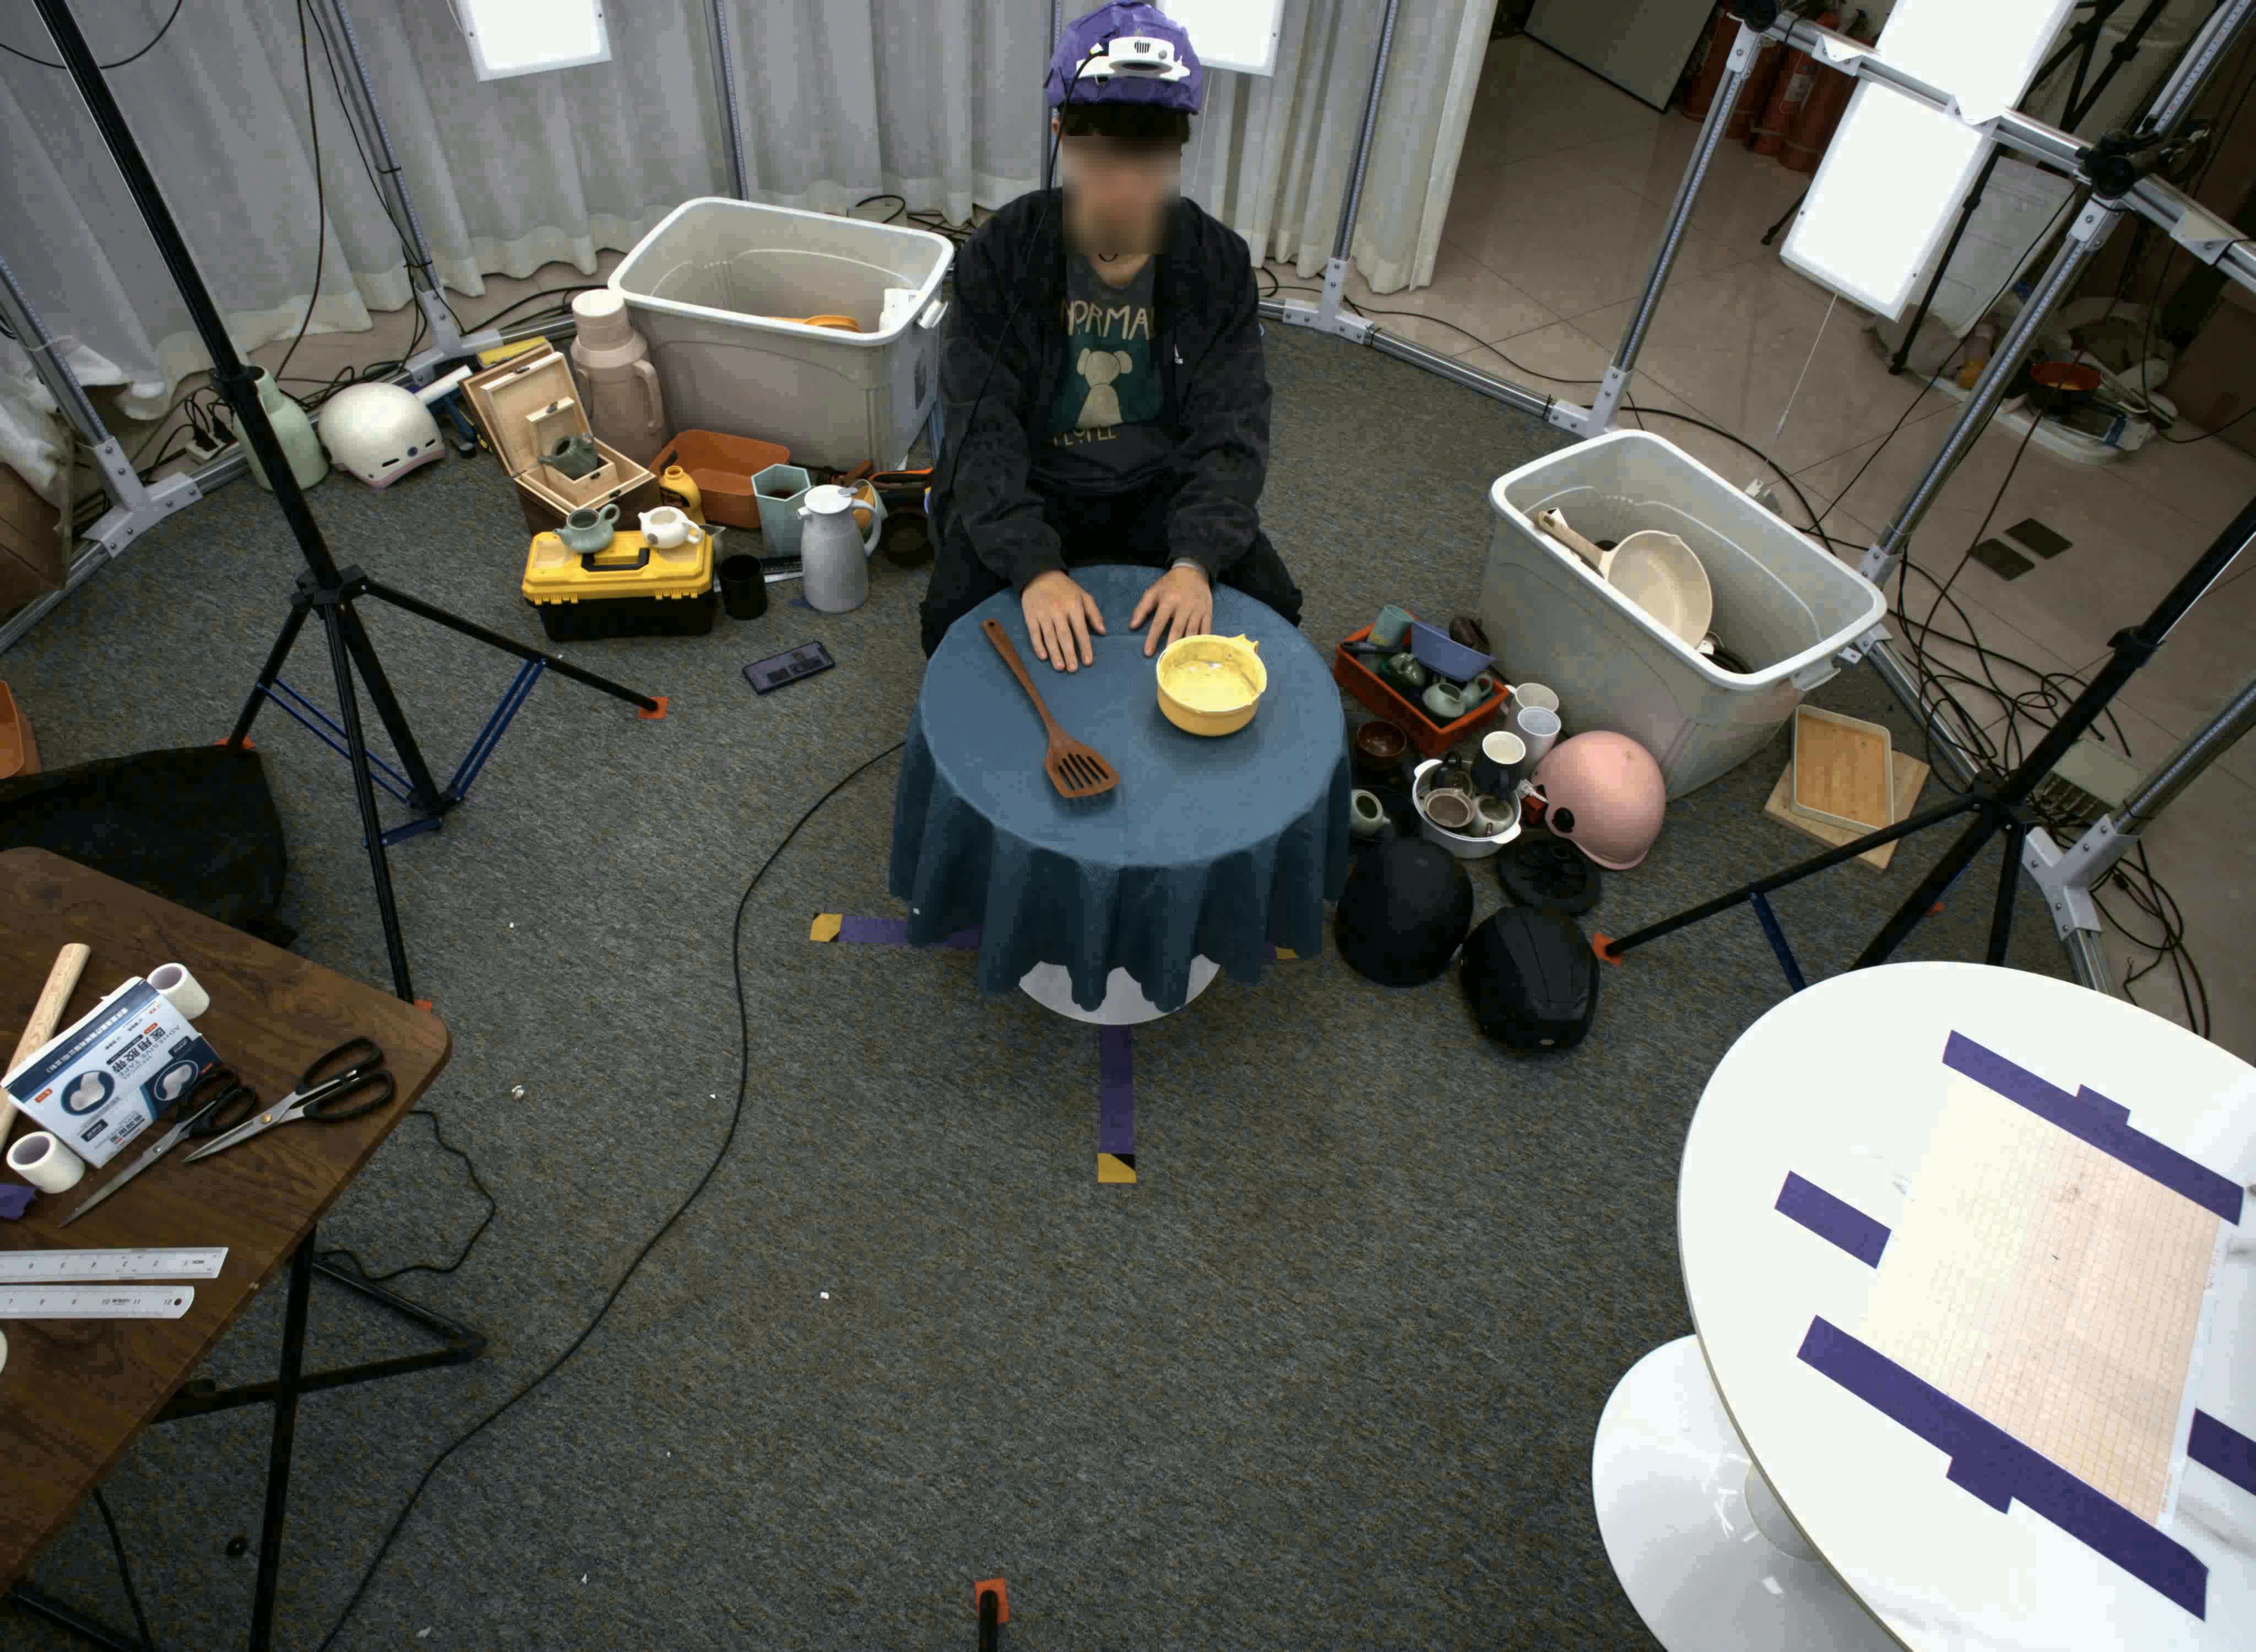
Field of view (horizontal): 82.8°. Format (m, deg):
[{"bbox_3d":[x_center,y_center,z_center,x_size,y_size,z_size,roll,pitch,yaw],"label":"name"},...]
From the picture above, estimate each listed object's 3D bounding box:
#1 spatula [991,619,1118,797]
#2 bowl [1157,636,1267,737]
[{"bbox_3d":[-0.121,-0.170,1.795,0.085,0.023,0.396,-15,50,-17],"label":"spatula"},{"bbox_3d":[0.123,-0.199,1.806,0.154,0.072,0.182,27,52,19],"label":"bowl"}]
